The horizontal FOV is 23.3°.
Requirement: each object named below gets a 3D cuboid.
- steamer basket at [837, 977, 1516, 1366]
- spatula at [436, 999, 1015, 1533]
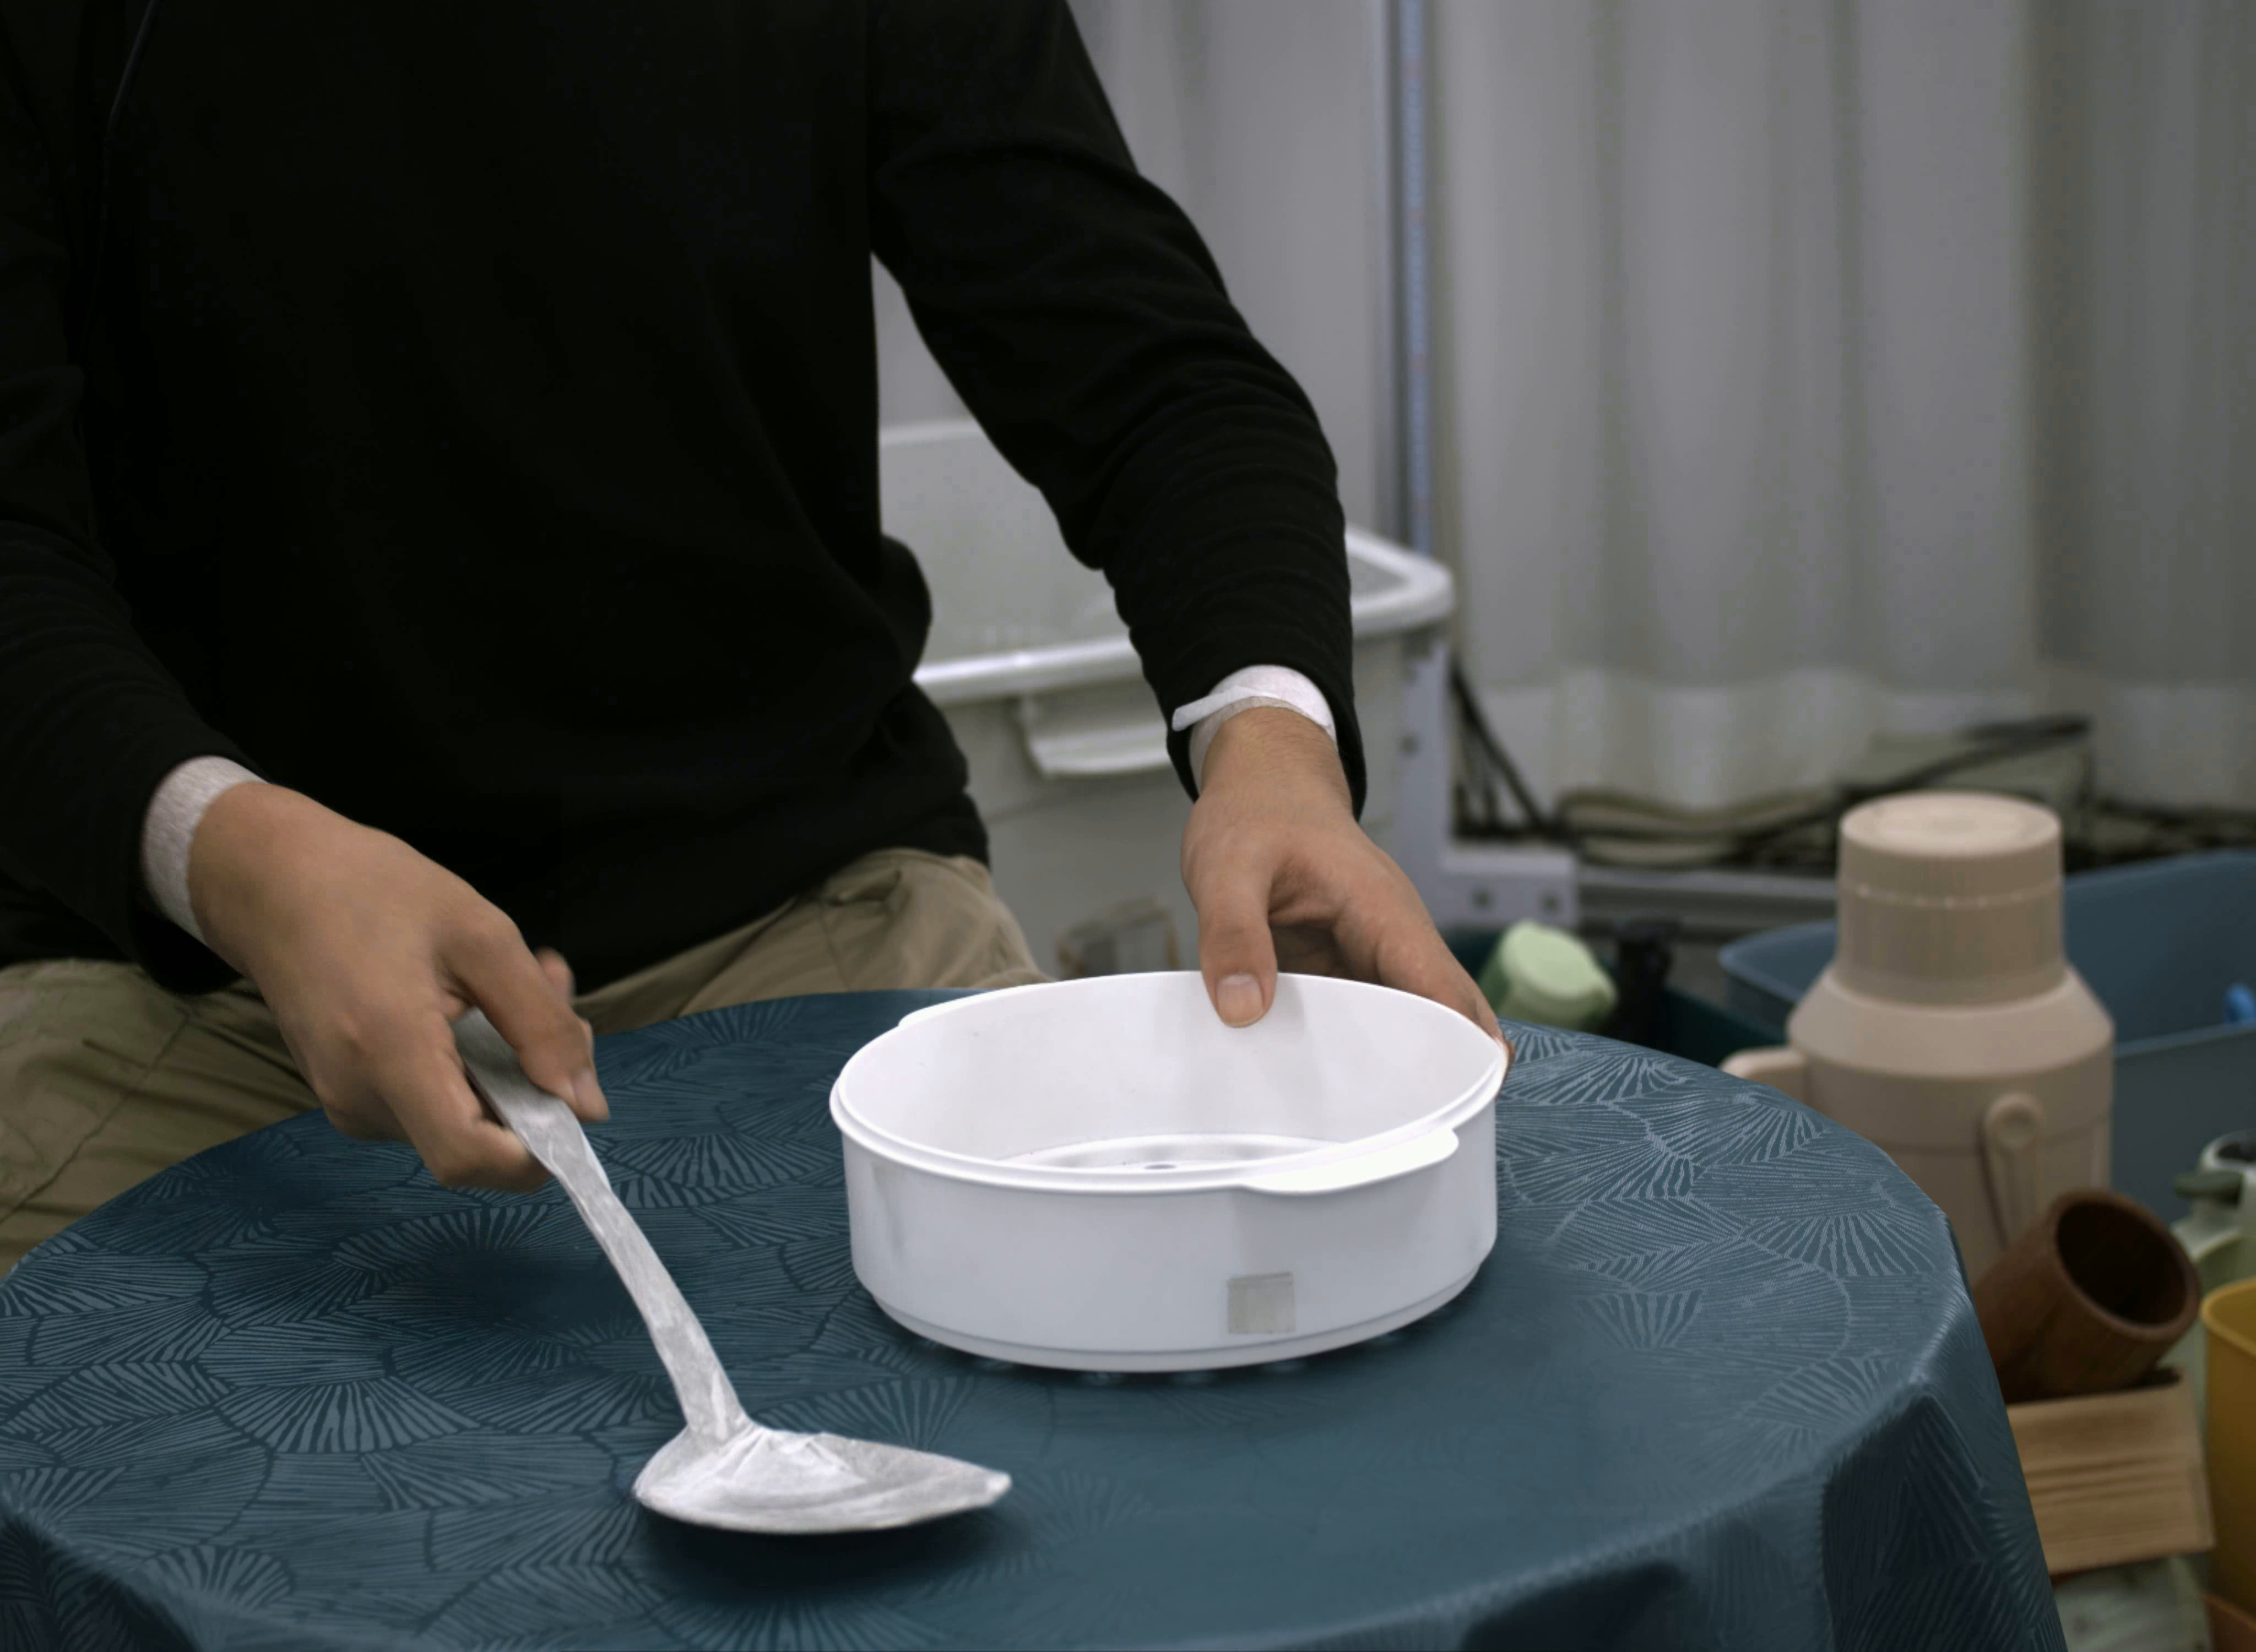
[{"bbox_3d":[0.016,0.102,1.622,0.201,0.069,0.232,-11,16,-30],"label":"steamer basket"},{"bbox_3d":[-0.141,0.117,1.564,0.098,0.044,0.369,-6,28,-23],"label":"spatula"}]
